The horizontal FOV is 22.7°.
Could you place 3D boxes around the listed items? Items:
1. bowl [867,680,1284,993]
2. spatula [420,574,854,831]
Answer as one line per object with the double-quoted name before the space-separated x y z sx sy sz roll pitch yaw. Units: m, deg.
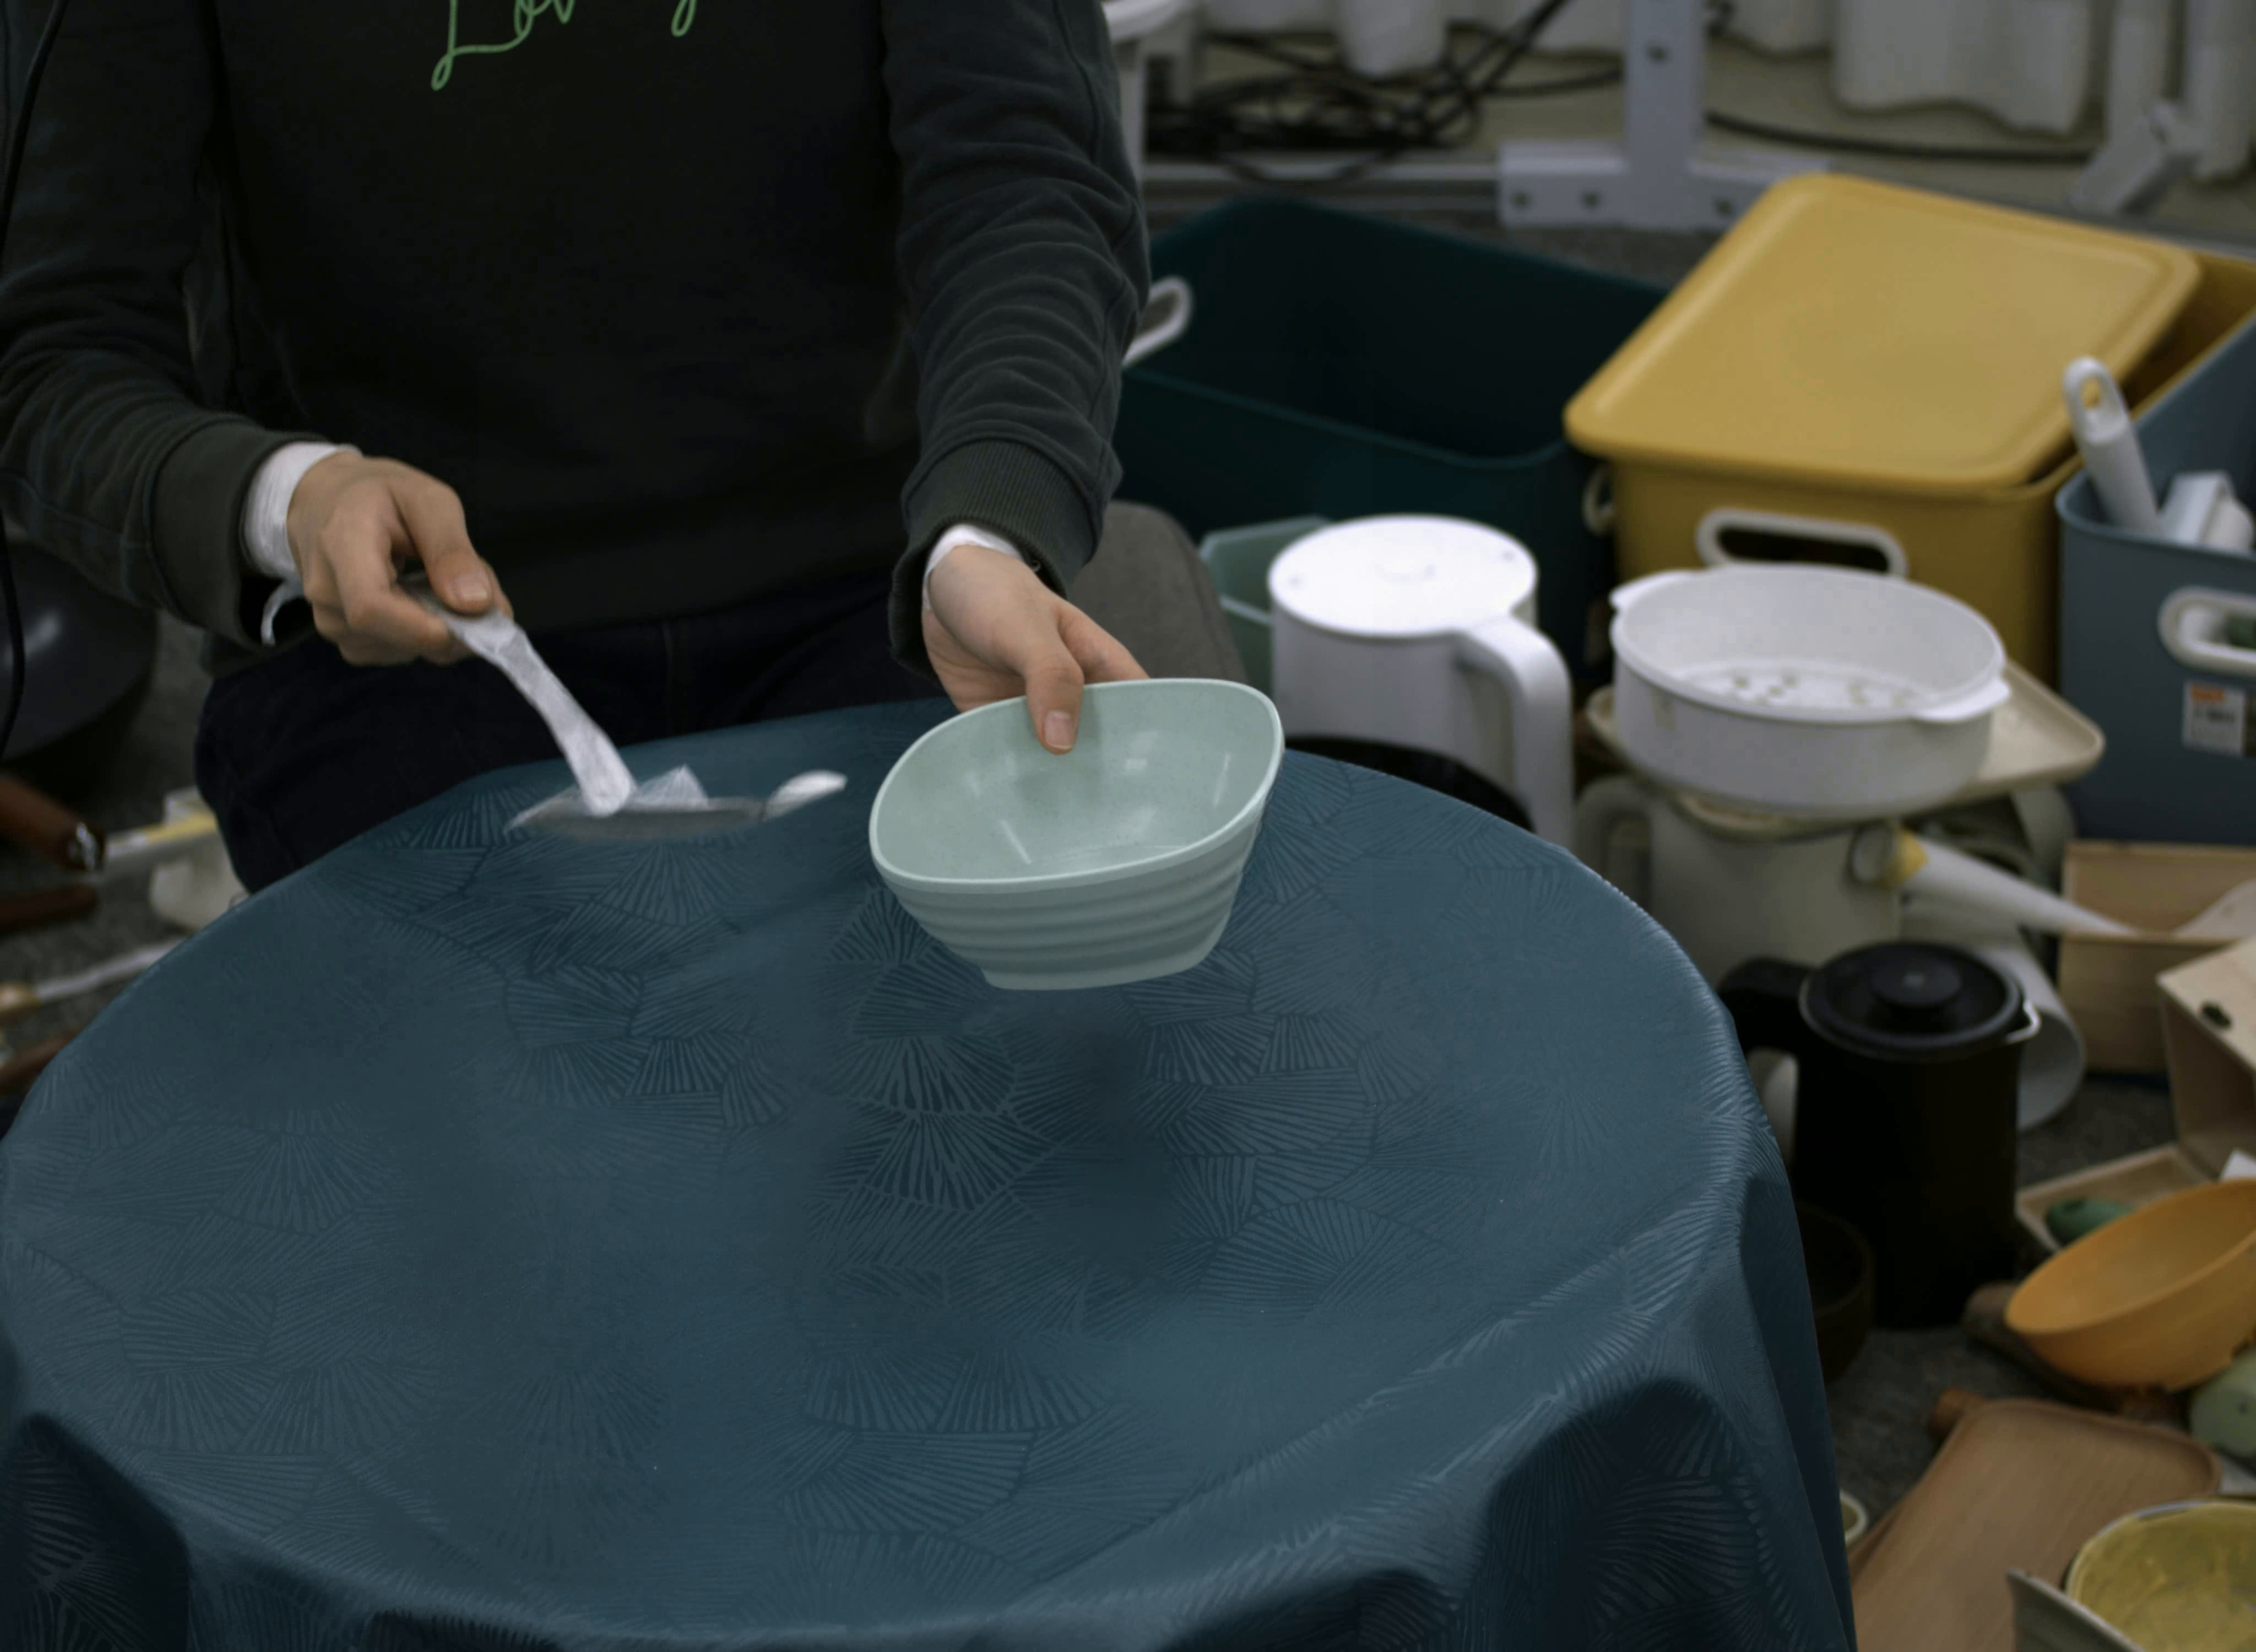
"bowl" -0.013 0.009 1.872 0.150 0.058 0.154 -8 28 4
"spatula" -0.187 -0.050 1.866 0.099 0.044 0.366 -5 20 -20
